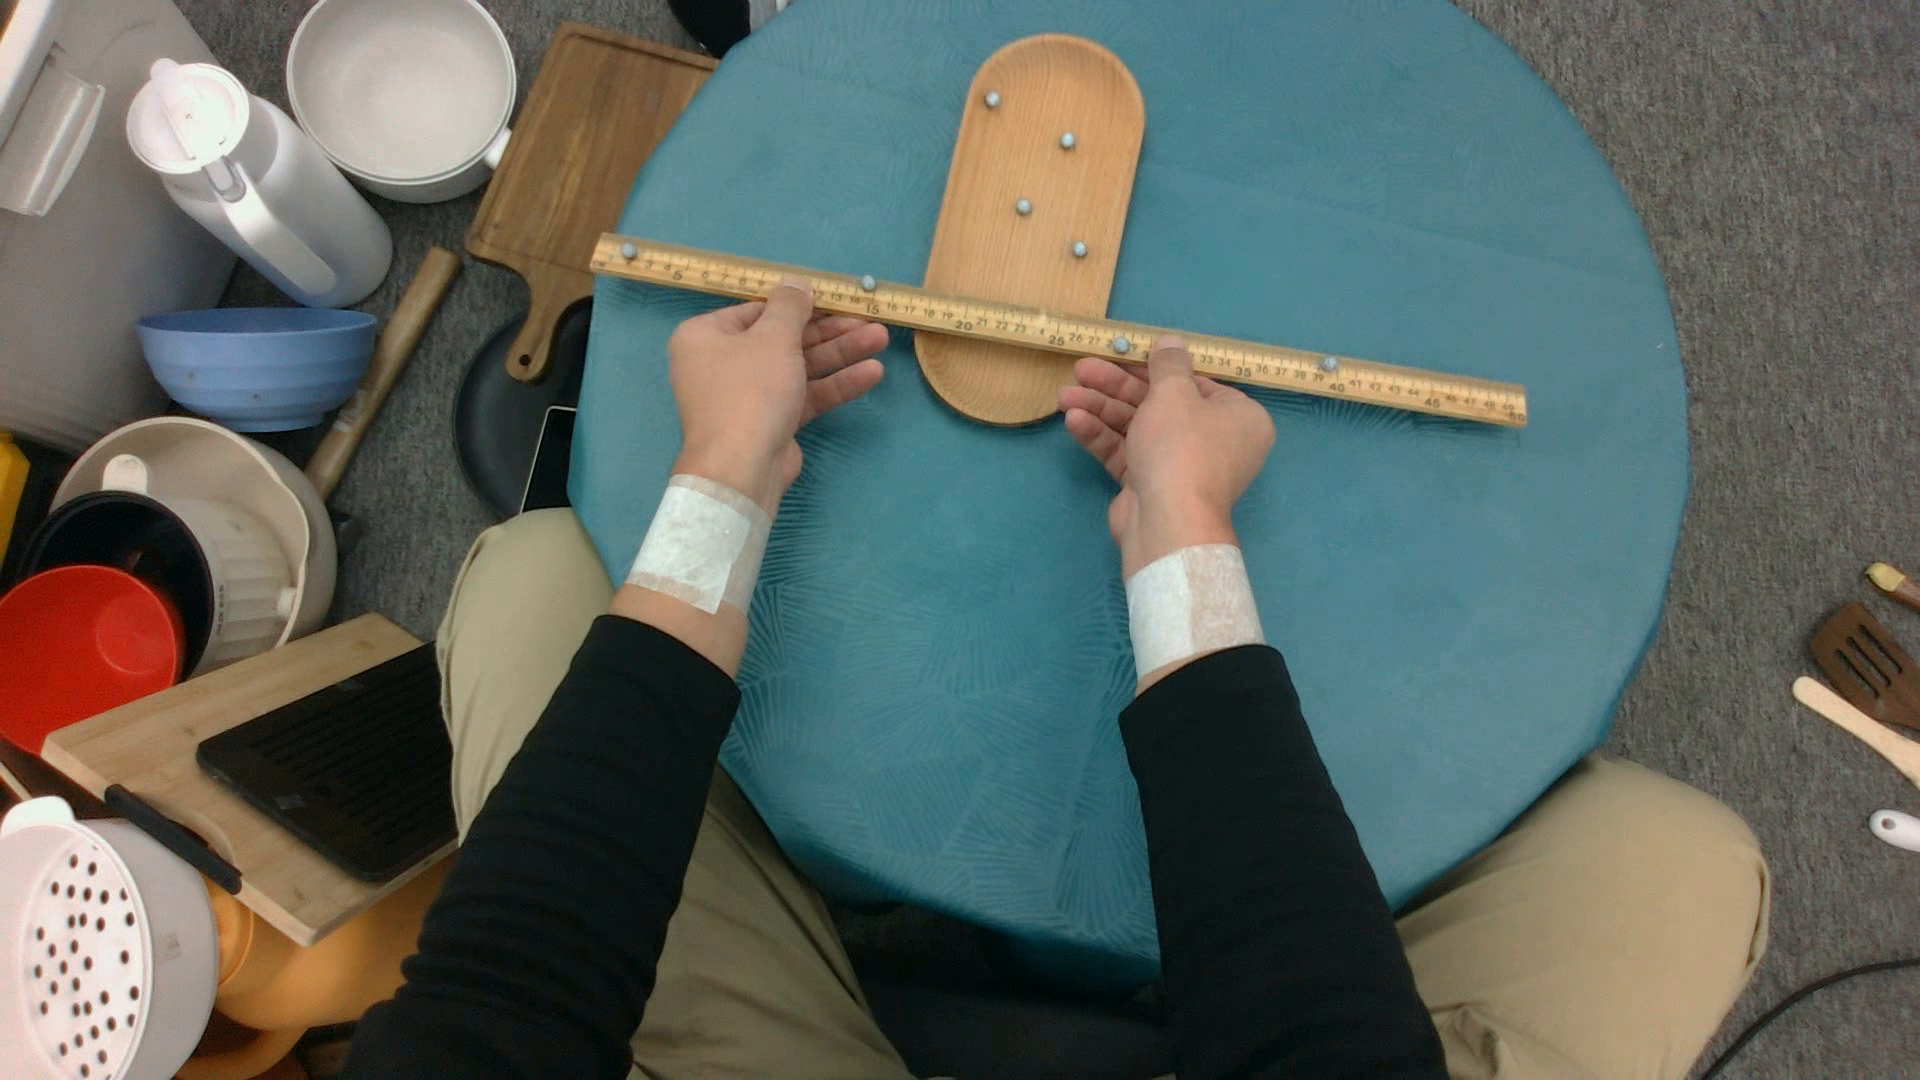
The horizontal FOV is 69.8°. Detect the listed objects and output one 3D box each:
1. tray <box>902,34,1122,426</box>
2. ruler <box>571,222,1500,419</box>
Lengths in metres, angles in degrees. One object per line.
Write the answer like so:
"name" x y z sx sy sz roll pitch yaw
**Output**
"tray" 0.030 -0.173 0.759 0.101 0.020 0.231 9 79 1
"ruler" 0.042 -0.117 0.734 0.500 0.006 0.027 10 61 0
